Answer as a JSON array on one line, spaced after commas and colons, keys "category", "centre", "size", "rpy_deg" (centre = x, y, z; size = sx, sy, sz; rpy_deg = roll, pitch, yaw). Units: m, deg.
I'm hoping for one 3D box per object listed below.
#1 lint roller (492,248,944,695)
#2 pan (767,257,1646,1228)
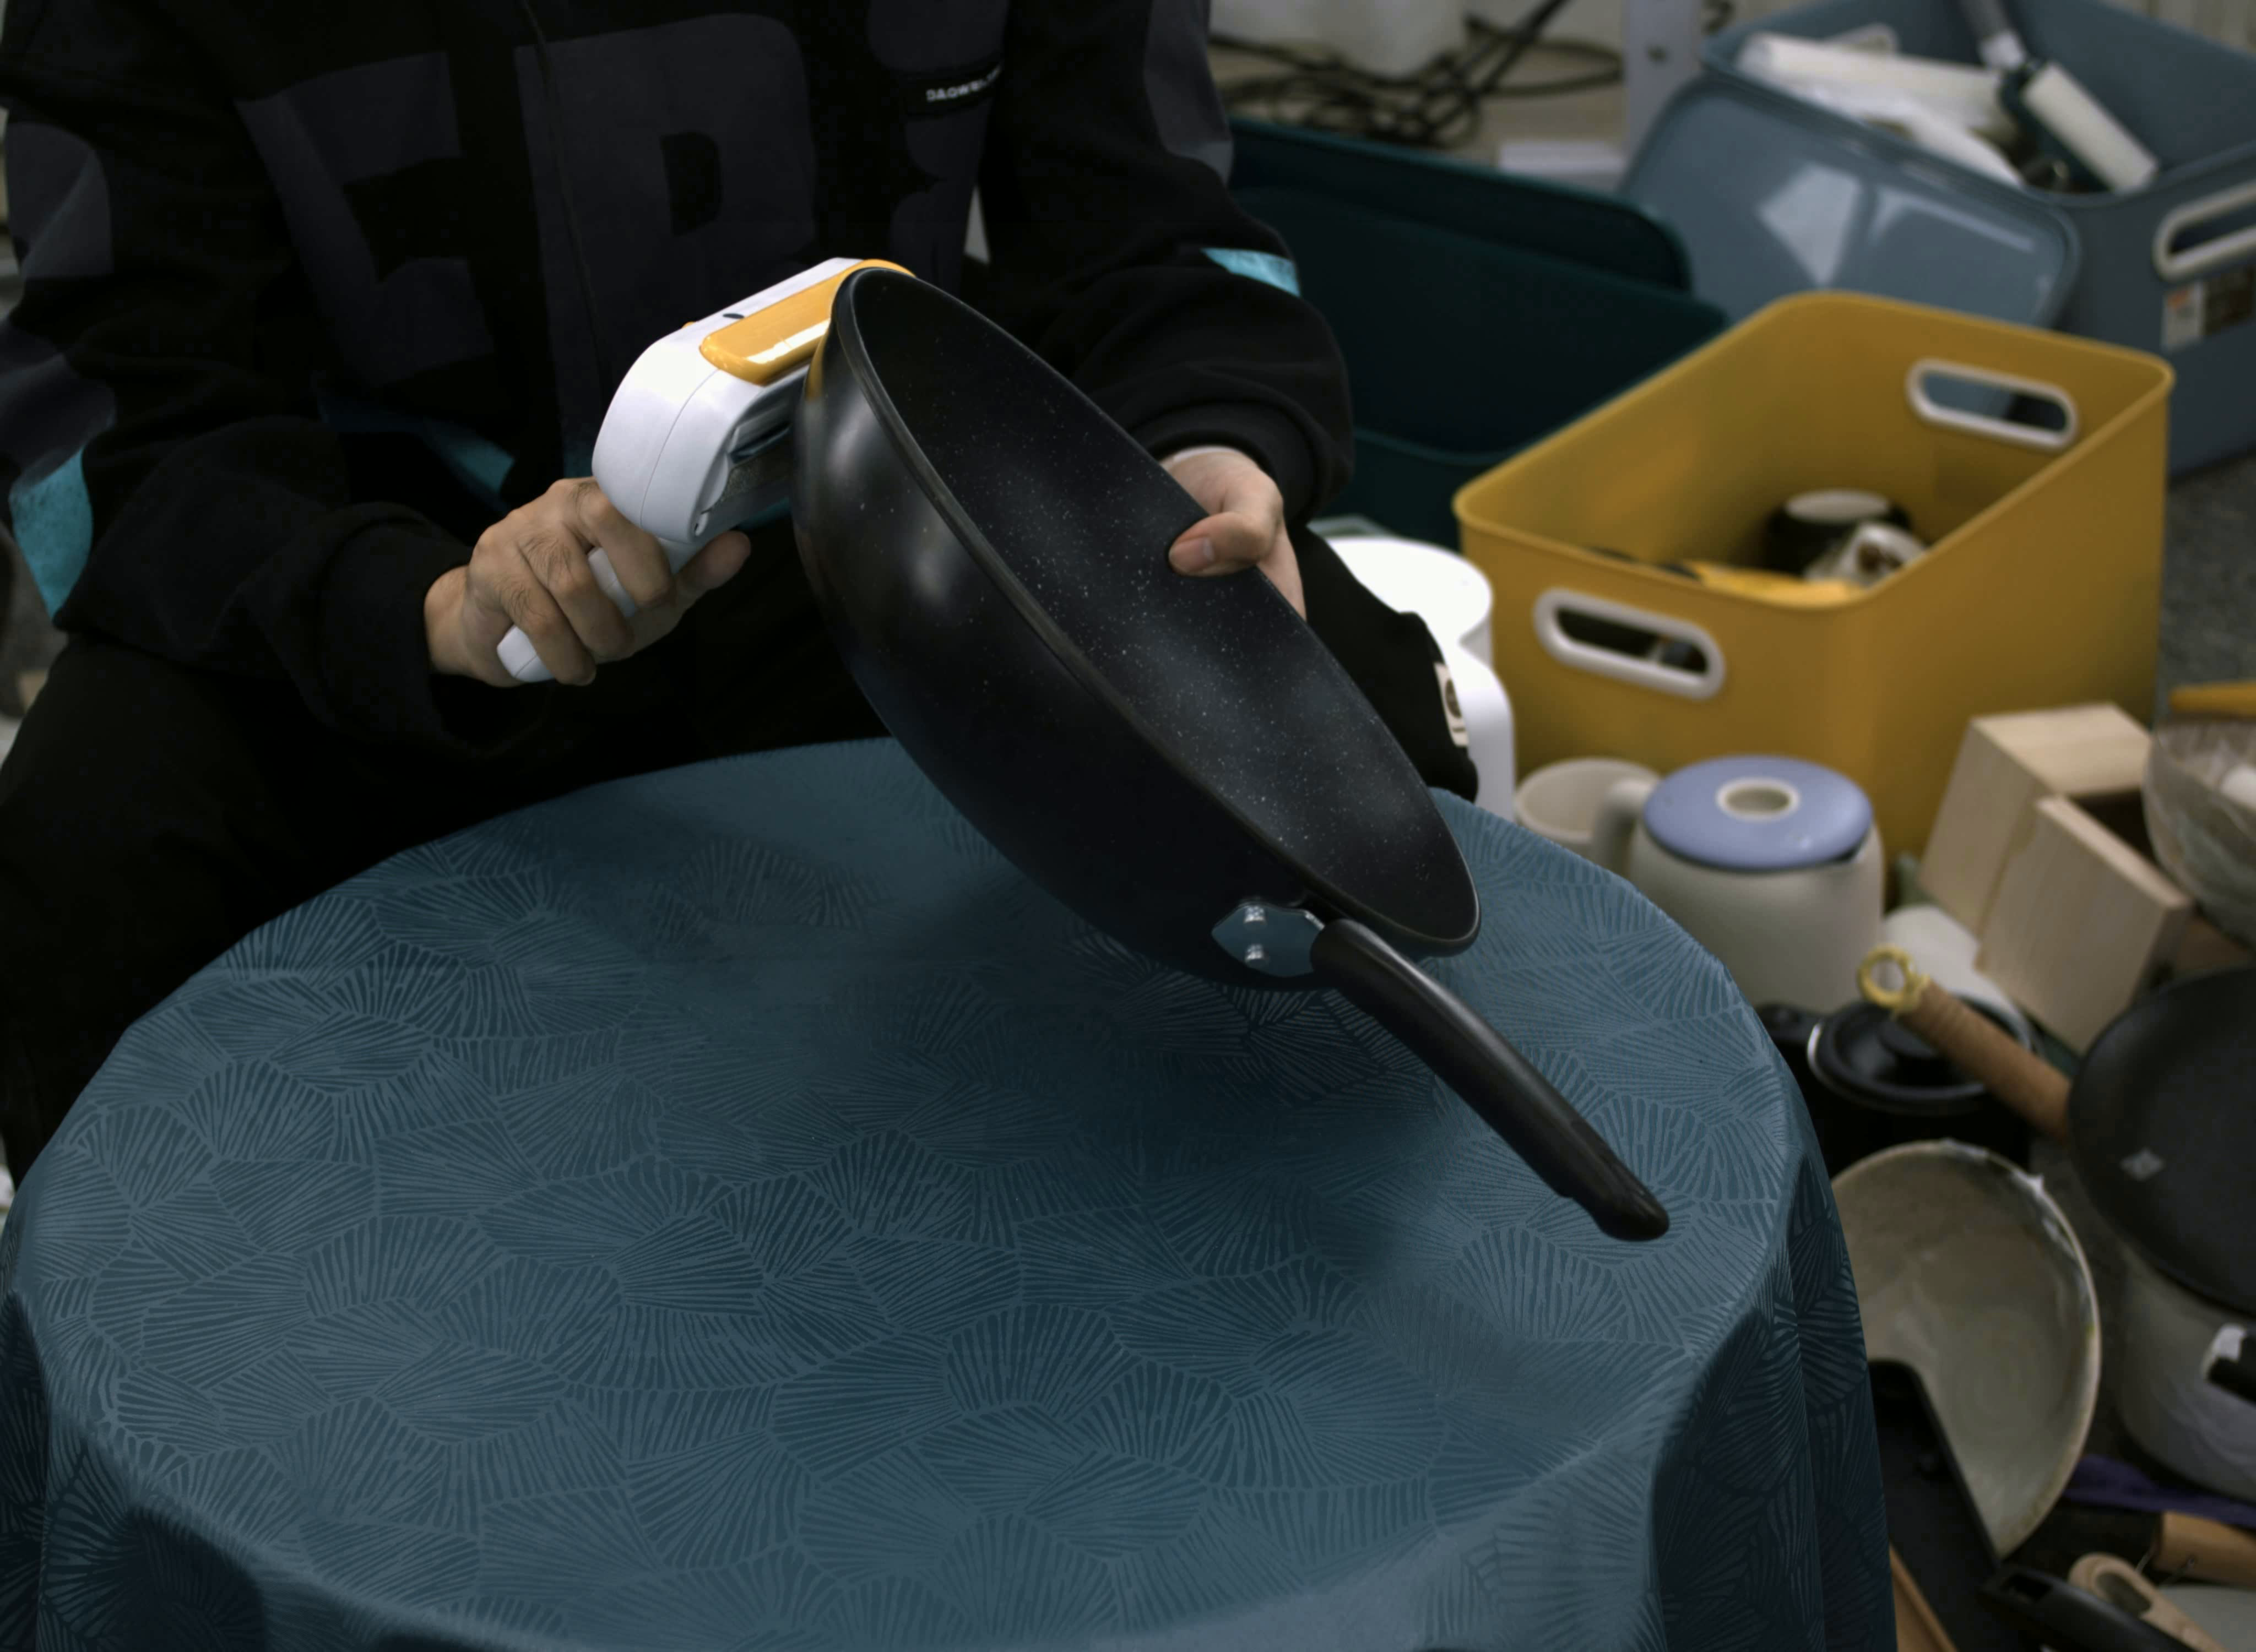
[{"category": "lint roller", "centre": [-0.156, -0.113, 1.996], "size": [0.074, 0.190, 0.195], "rpy_deg": [36, 23, 4]}, {"category": "pan", "centre": [0.021, -0.006, 1.852], "size": [0.309, 0.111, 0.483], "rpy_deg": [31, 21, -46]}]
